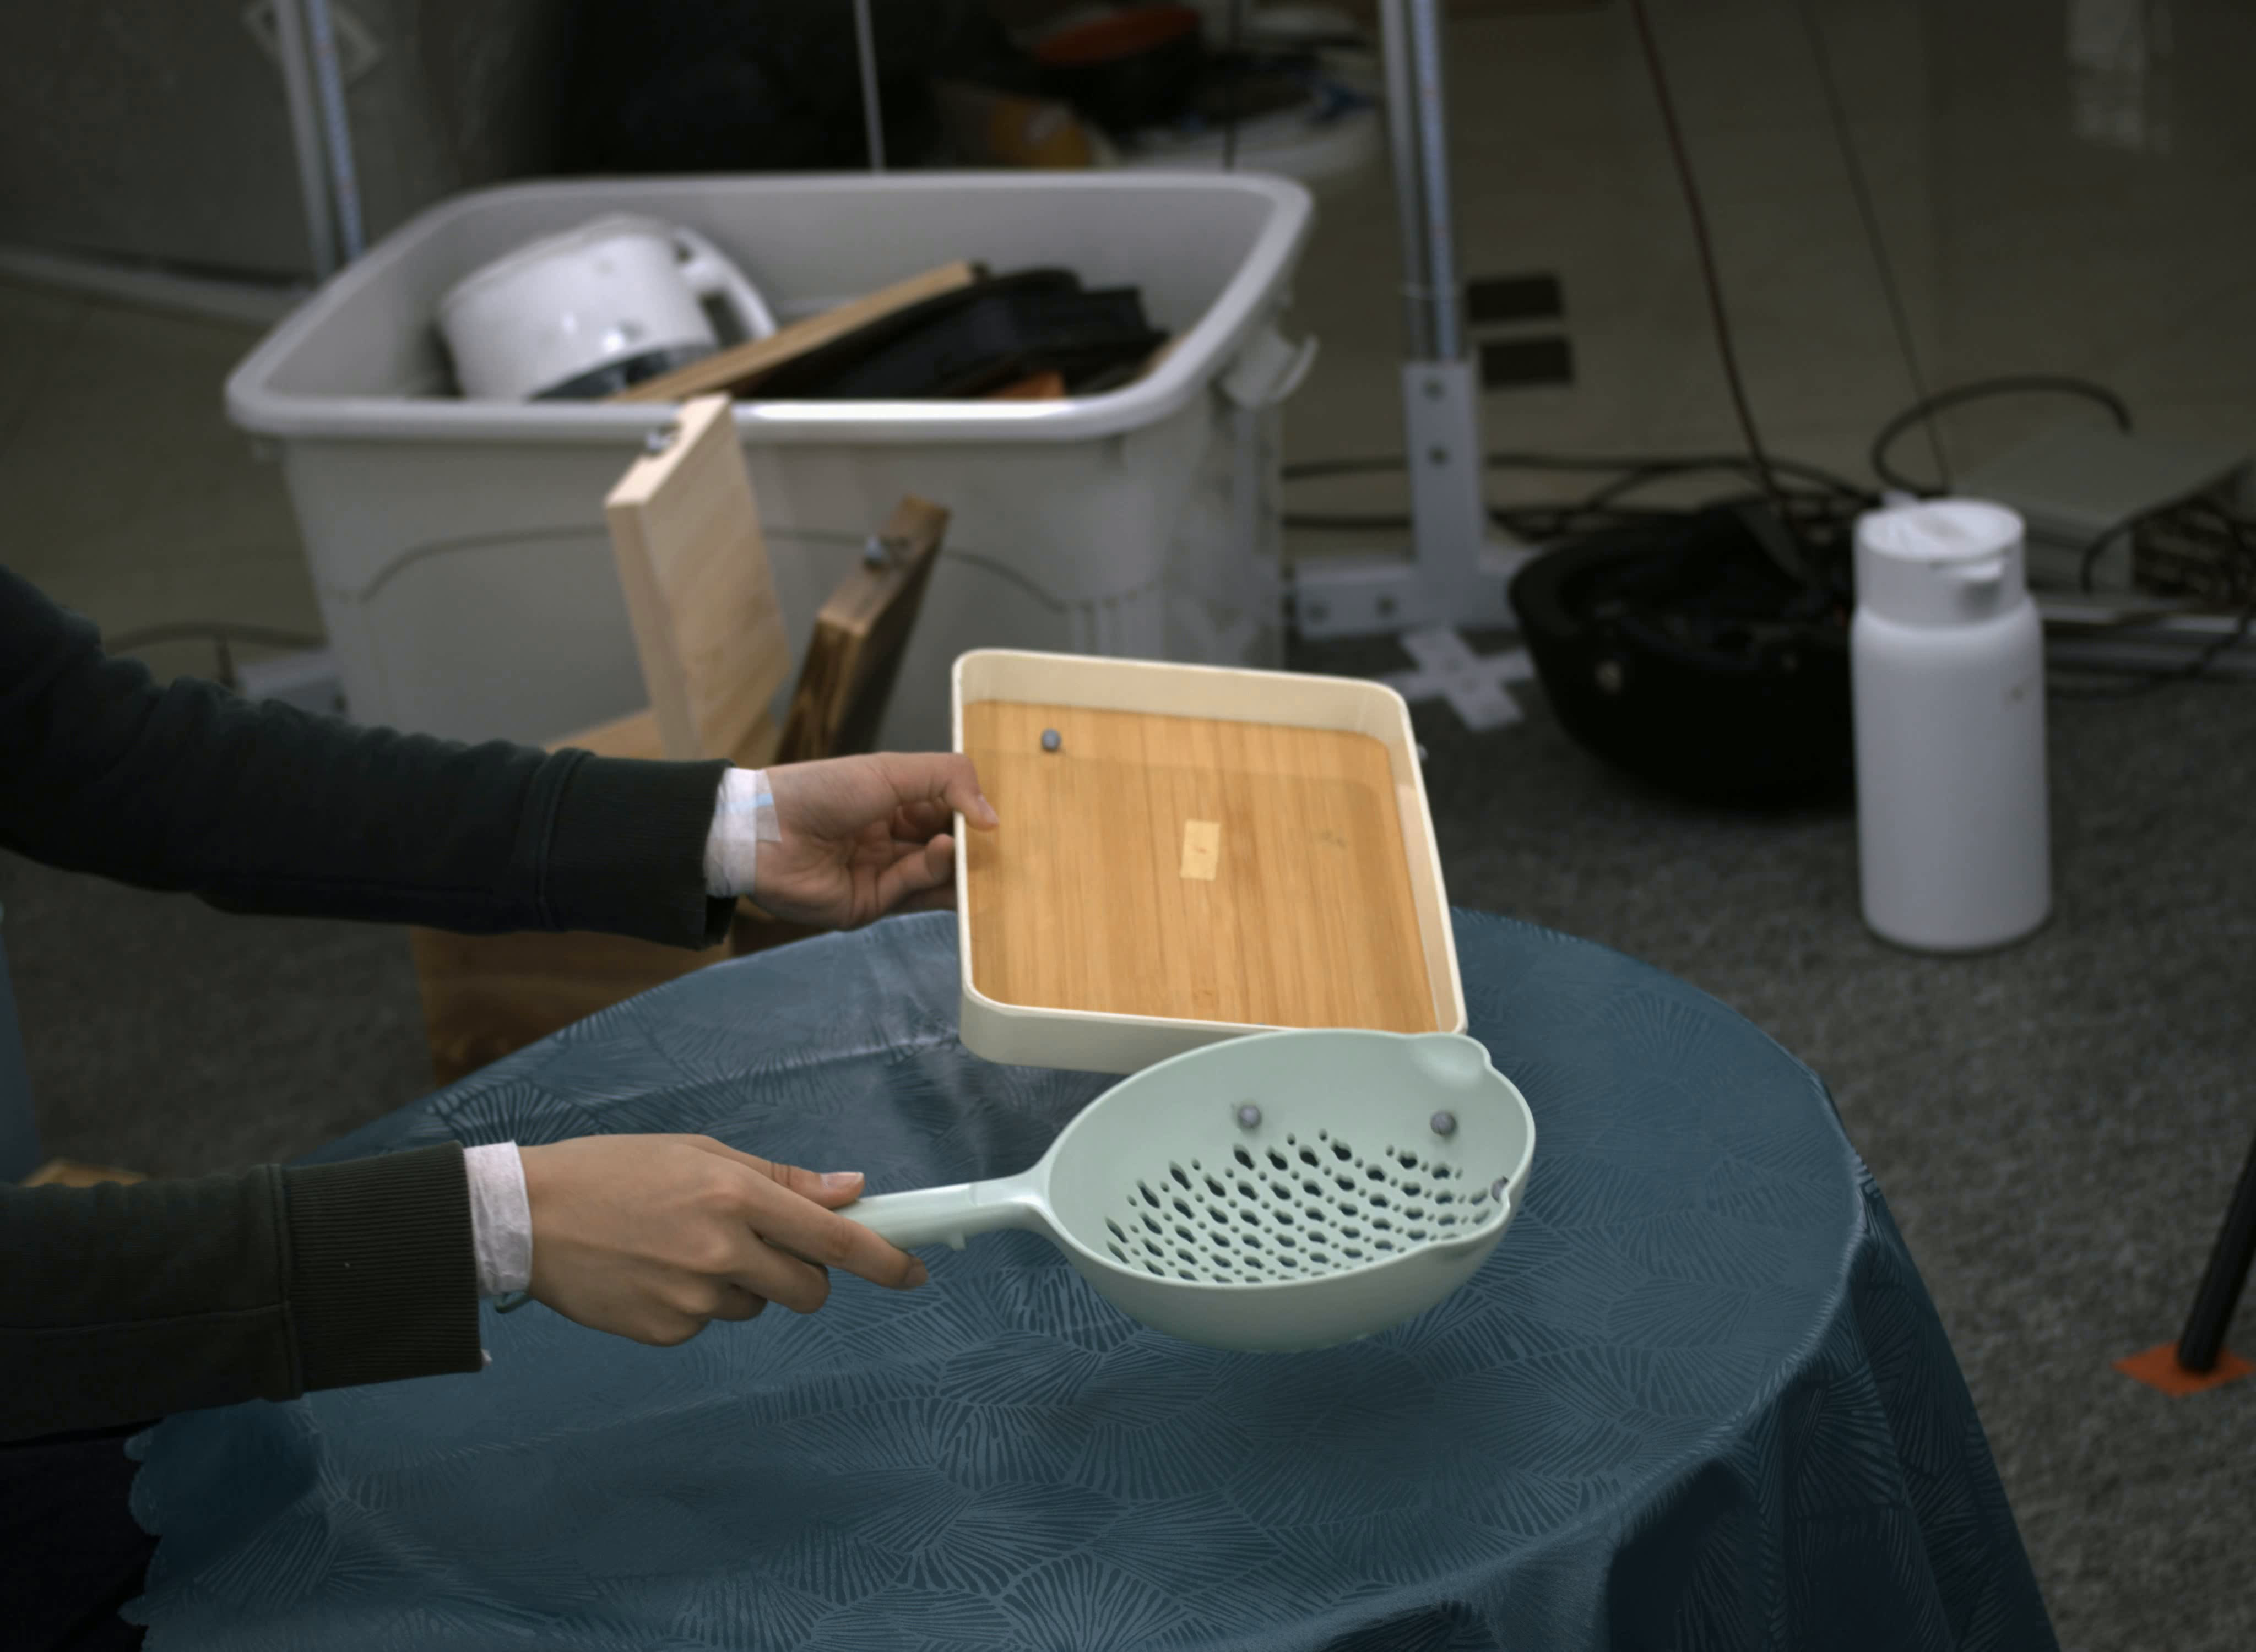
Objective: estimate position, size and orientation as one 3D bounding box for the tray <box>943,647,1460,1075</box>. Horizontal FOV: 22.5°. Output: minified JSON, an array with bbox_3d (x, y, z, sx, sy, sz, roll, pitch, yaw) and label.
[{"bbox_3d":[0.023,0.014,2.223,0.191,0.028,0.295,5,29,-5],"label":"tray"}]

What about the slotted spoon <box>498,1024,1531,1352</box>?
[{"bbox_3d":[-0.041,0.135,1.960,0.358,0.076,0.167,0,27,0],"label":"slotted spoon"}]
